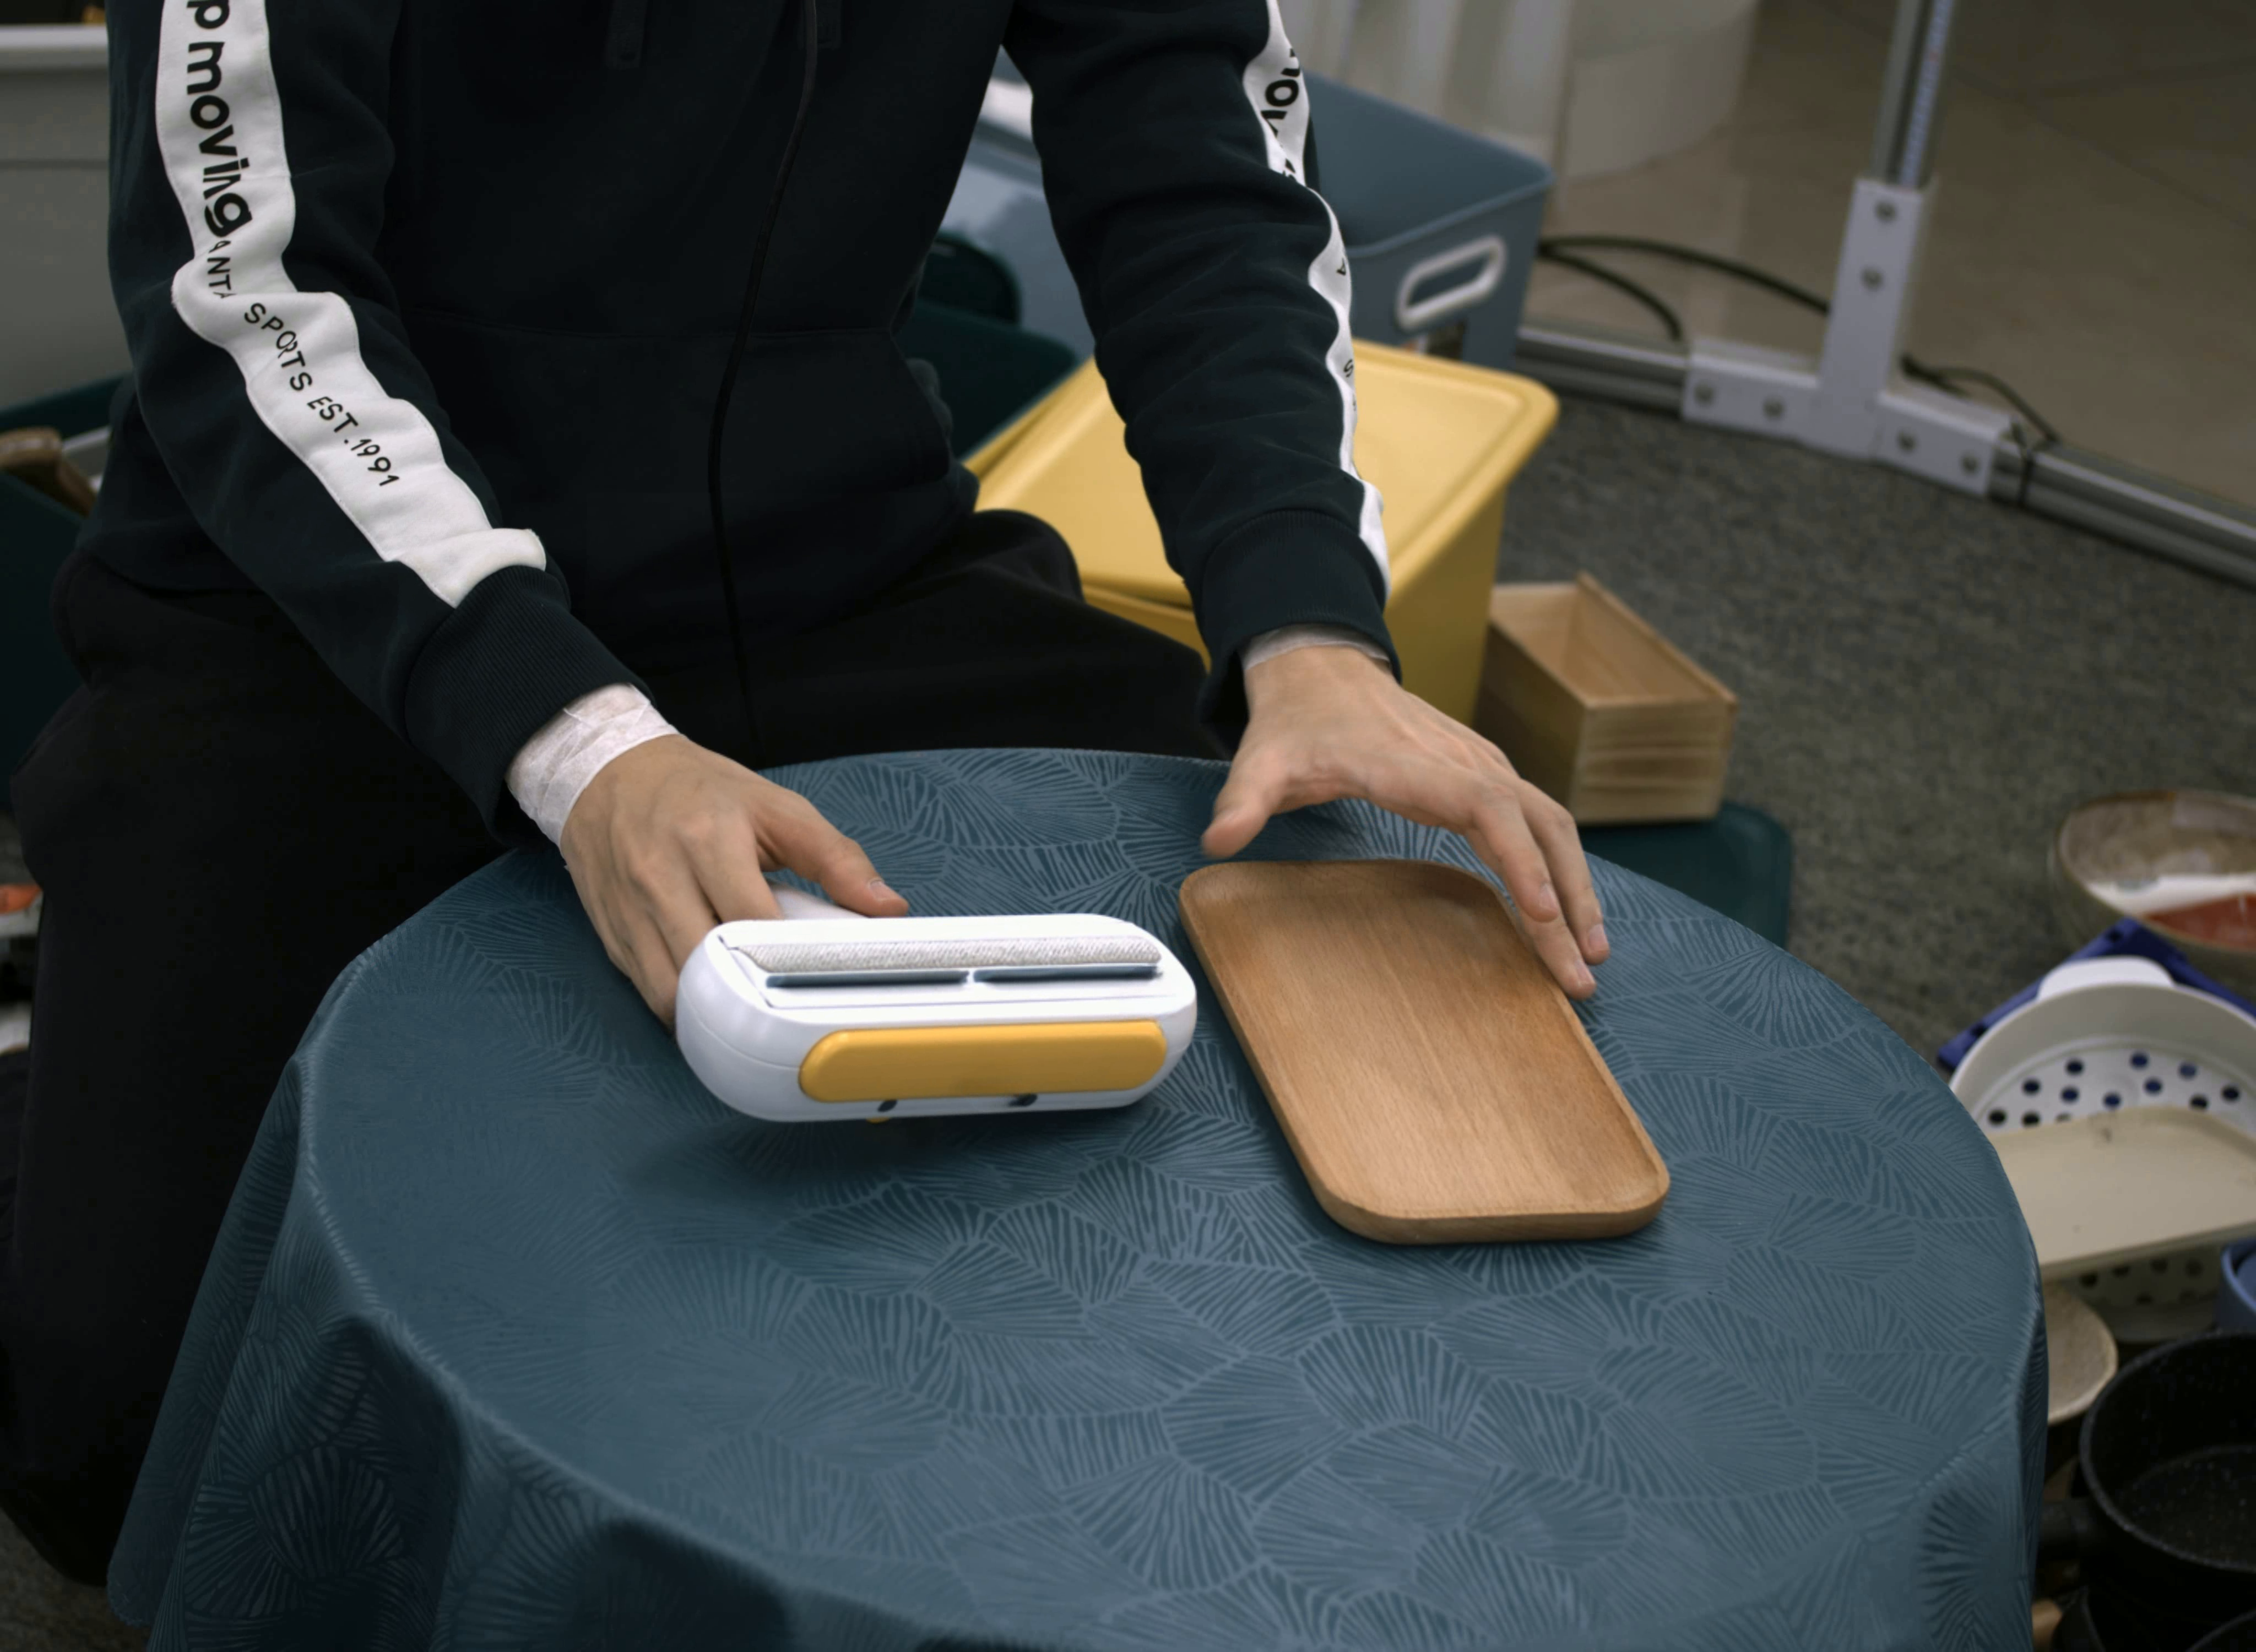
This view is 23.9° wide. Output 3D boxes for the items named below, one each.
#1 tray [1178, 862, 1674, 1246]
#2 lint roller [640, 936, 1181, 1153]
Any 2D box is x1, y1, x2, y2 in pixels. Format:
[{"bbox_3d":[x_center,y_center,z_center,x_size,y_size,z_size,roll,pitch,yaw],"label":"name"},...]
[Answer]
[{"bbox_3d":[0.102,0.078,1.893,0.130,0.023,0.253,1,27,-14],"label":"tray"},{"bbox_3d":[-0.100,0.065,1.859,0.191,0.074,0.194,-1,13,-28],"label":"lint roller"}]
